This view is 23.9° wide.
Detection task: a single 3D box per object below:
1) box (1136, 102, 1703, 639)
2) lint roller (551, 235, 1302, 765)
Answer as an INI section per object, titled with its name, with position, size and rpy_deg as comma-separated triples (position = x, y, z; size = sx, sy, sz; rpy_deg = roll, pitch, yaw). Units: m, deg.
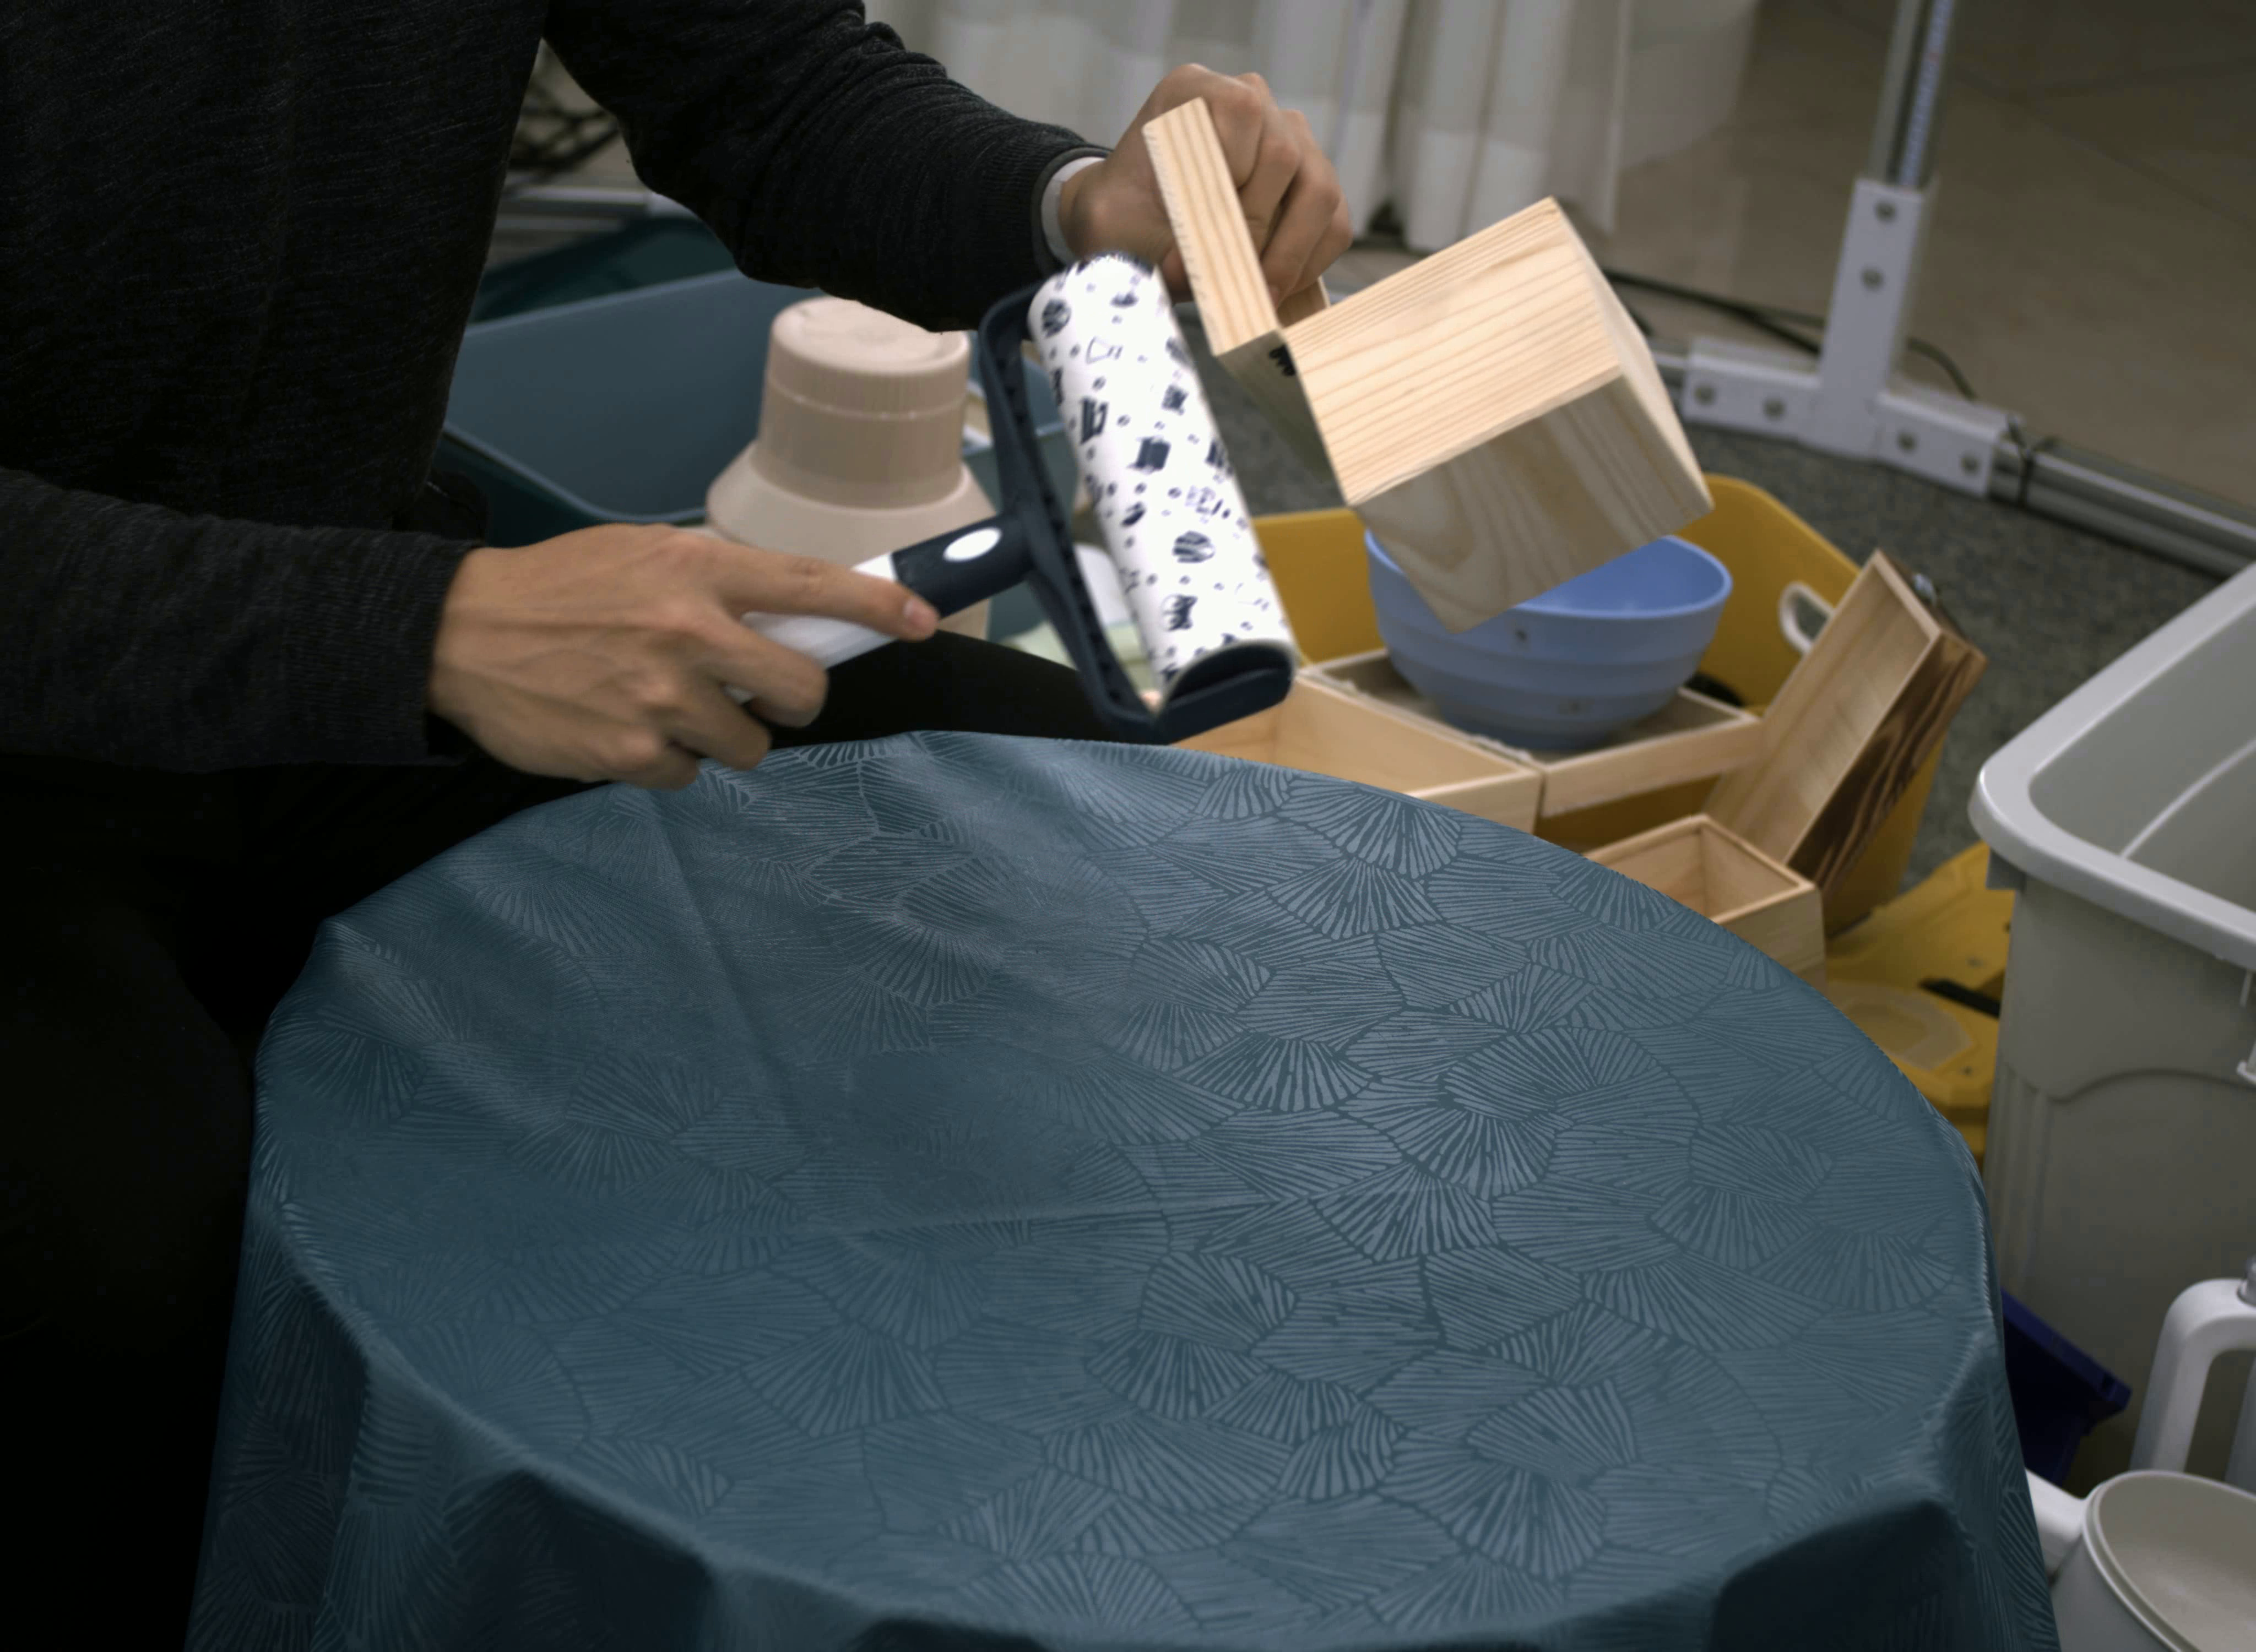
[box]
position = 0.100, -0.174, 1.817
size = 0.134, 0.101, 0.186
rpy_deg = -25, 57, 12
[lint roller]
position = -0.080, -0.078, 1.764
size = 0.246, 0.050, 0.178
rpy_deg = -22, 63, 5
